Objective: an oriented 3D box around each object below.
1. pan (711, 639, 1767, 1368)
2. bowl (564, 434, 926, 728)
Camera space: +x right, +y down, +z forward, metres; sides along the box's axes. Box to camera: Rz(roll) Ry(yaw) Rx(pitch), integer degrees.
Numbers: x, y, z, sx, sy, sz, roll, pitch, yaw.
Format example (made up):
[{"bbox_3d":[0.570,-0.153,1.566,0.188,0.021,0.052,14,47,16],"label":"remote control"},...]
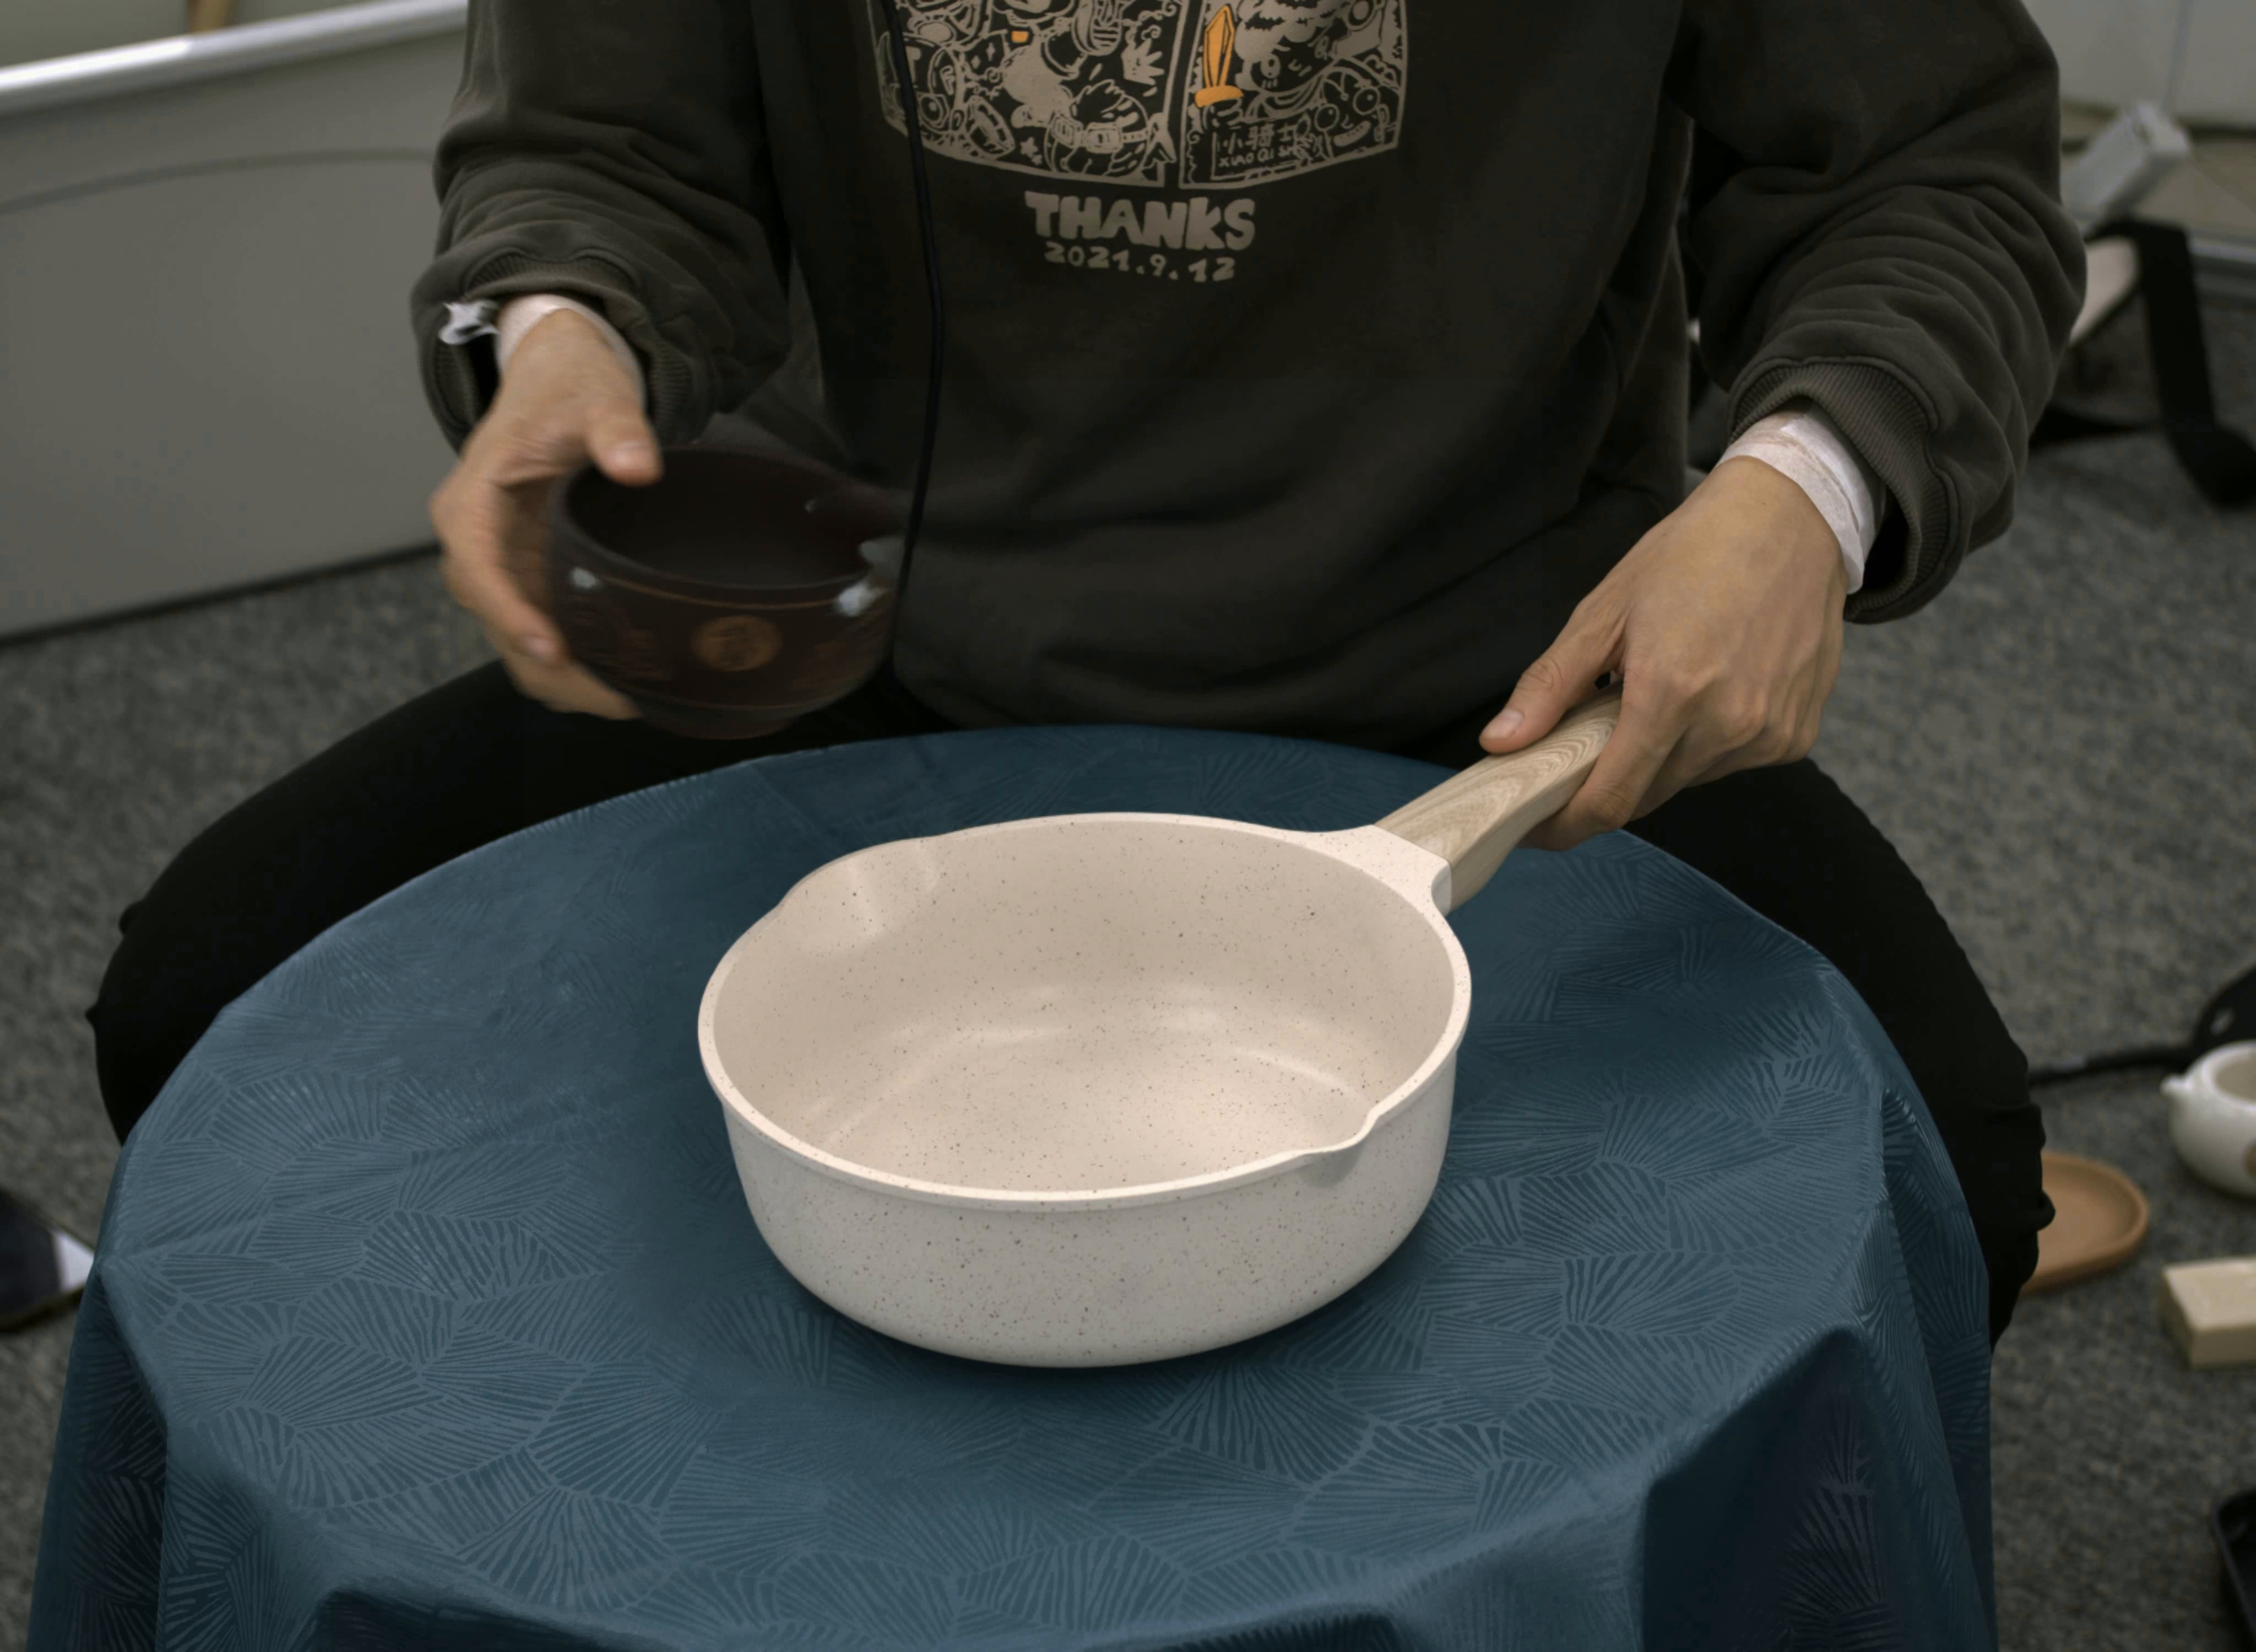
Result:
[{"bbox_3d":[0.061,0.053,1.880,0.439,0.101,0.263,-24,32,-35],"label":"pan"},{"bbox_3d":[-0.126,-0.074,1.837,0.117,0.069,0.119,5,24,-2],"label":"bowl"}]
